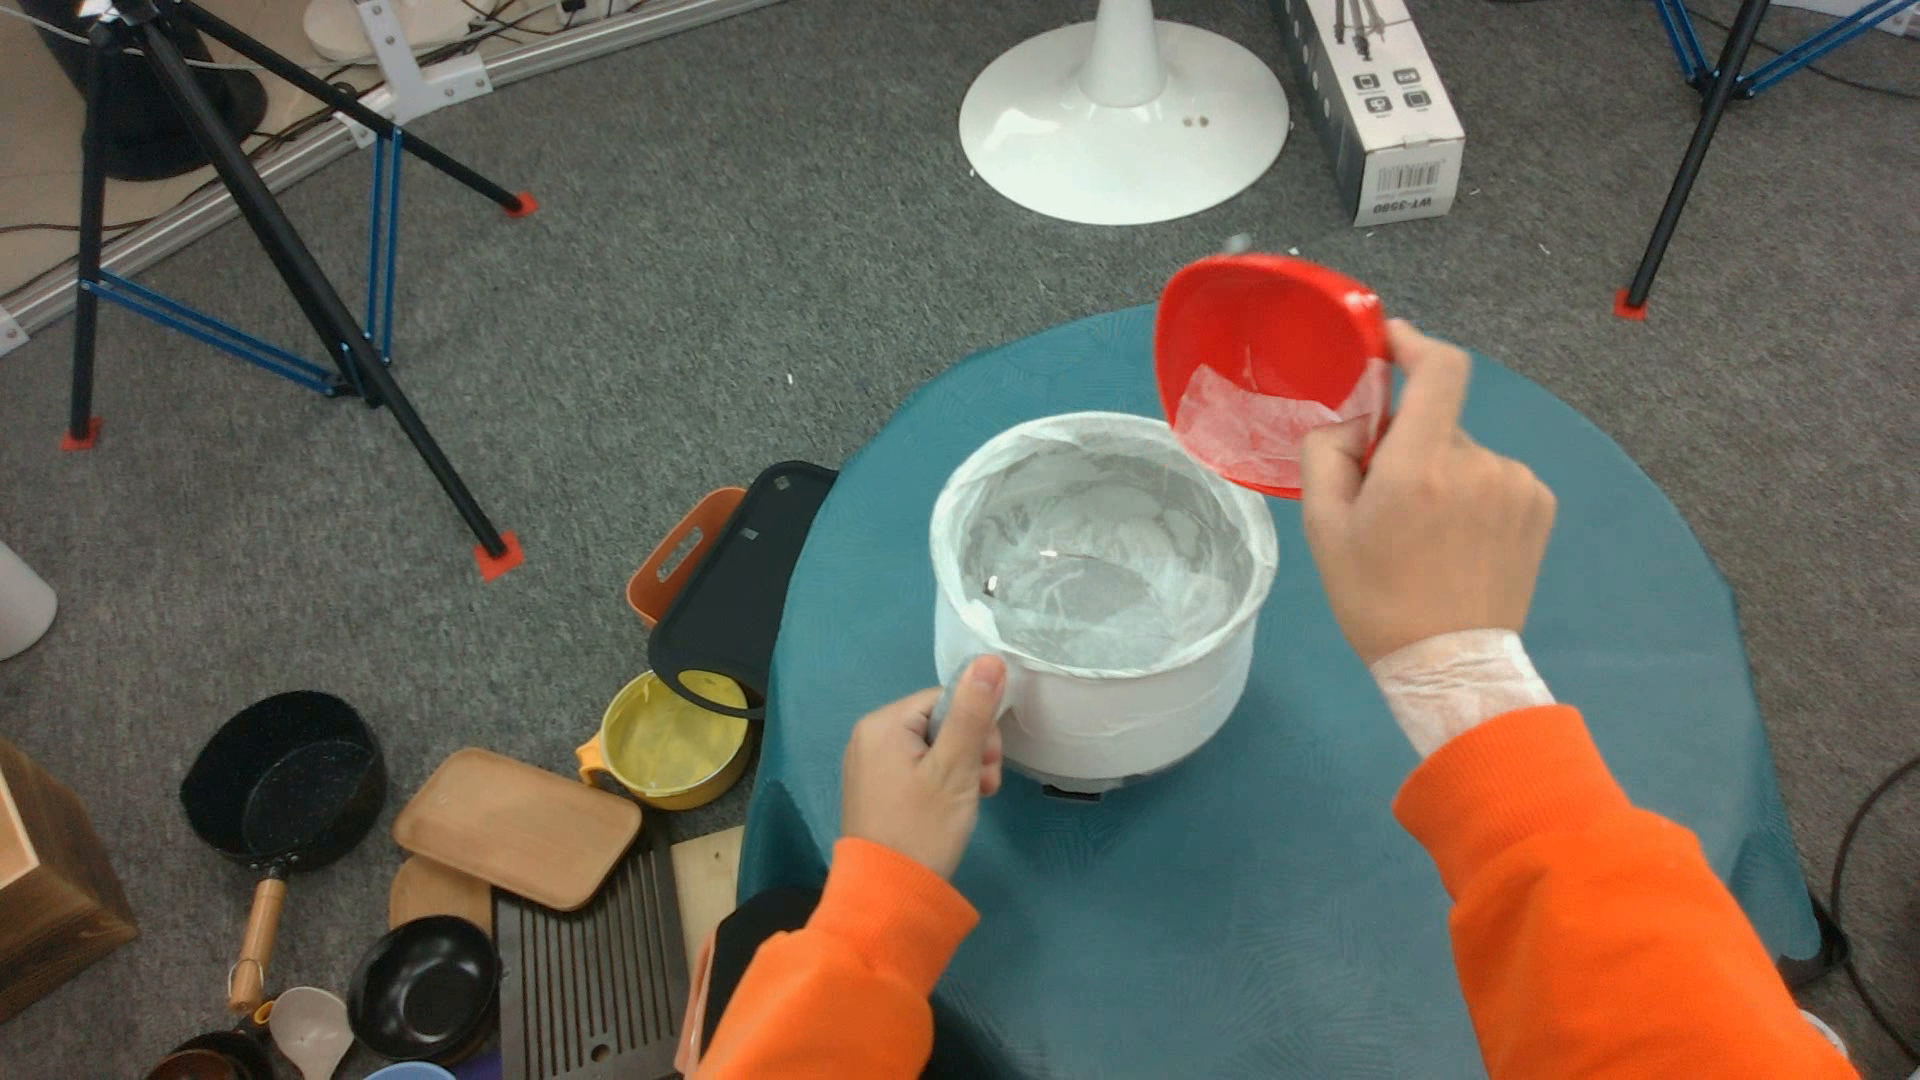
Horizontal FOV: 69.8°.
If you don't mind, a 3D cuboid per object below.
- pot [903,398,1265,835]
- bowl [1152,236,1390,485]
[{"bbox_3d":[0.052,0.048,0.737,0.178,0.136,0.235,29,57,23],"label":"pot"},{"bbox_3d":[0.144,-0.085,0.610,0.119,0.118,0.051,33,45,25],"label":"bowl"}]
